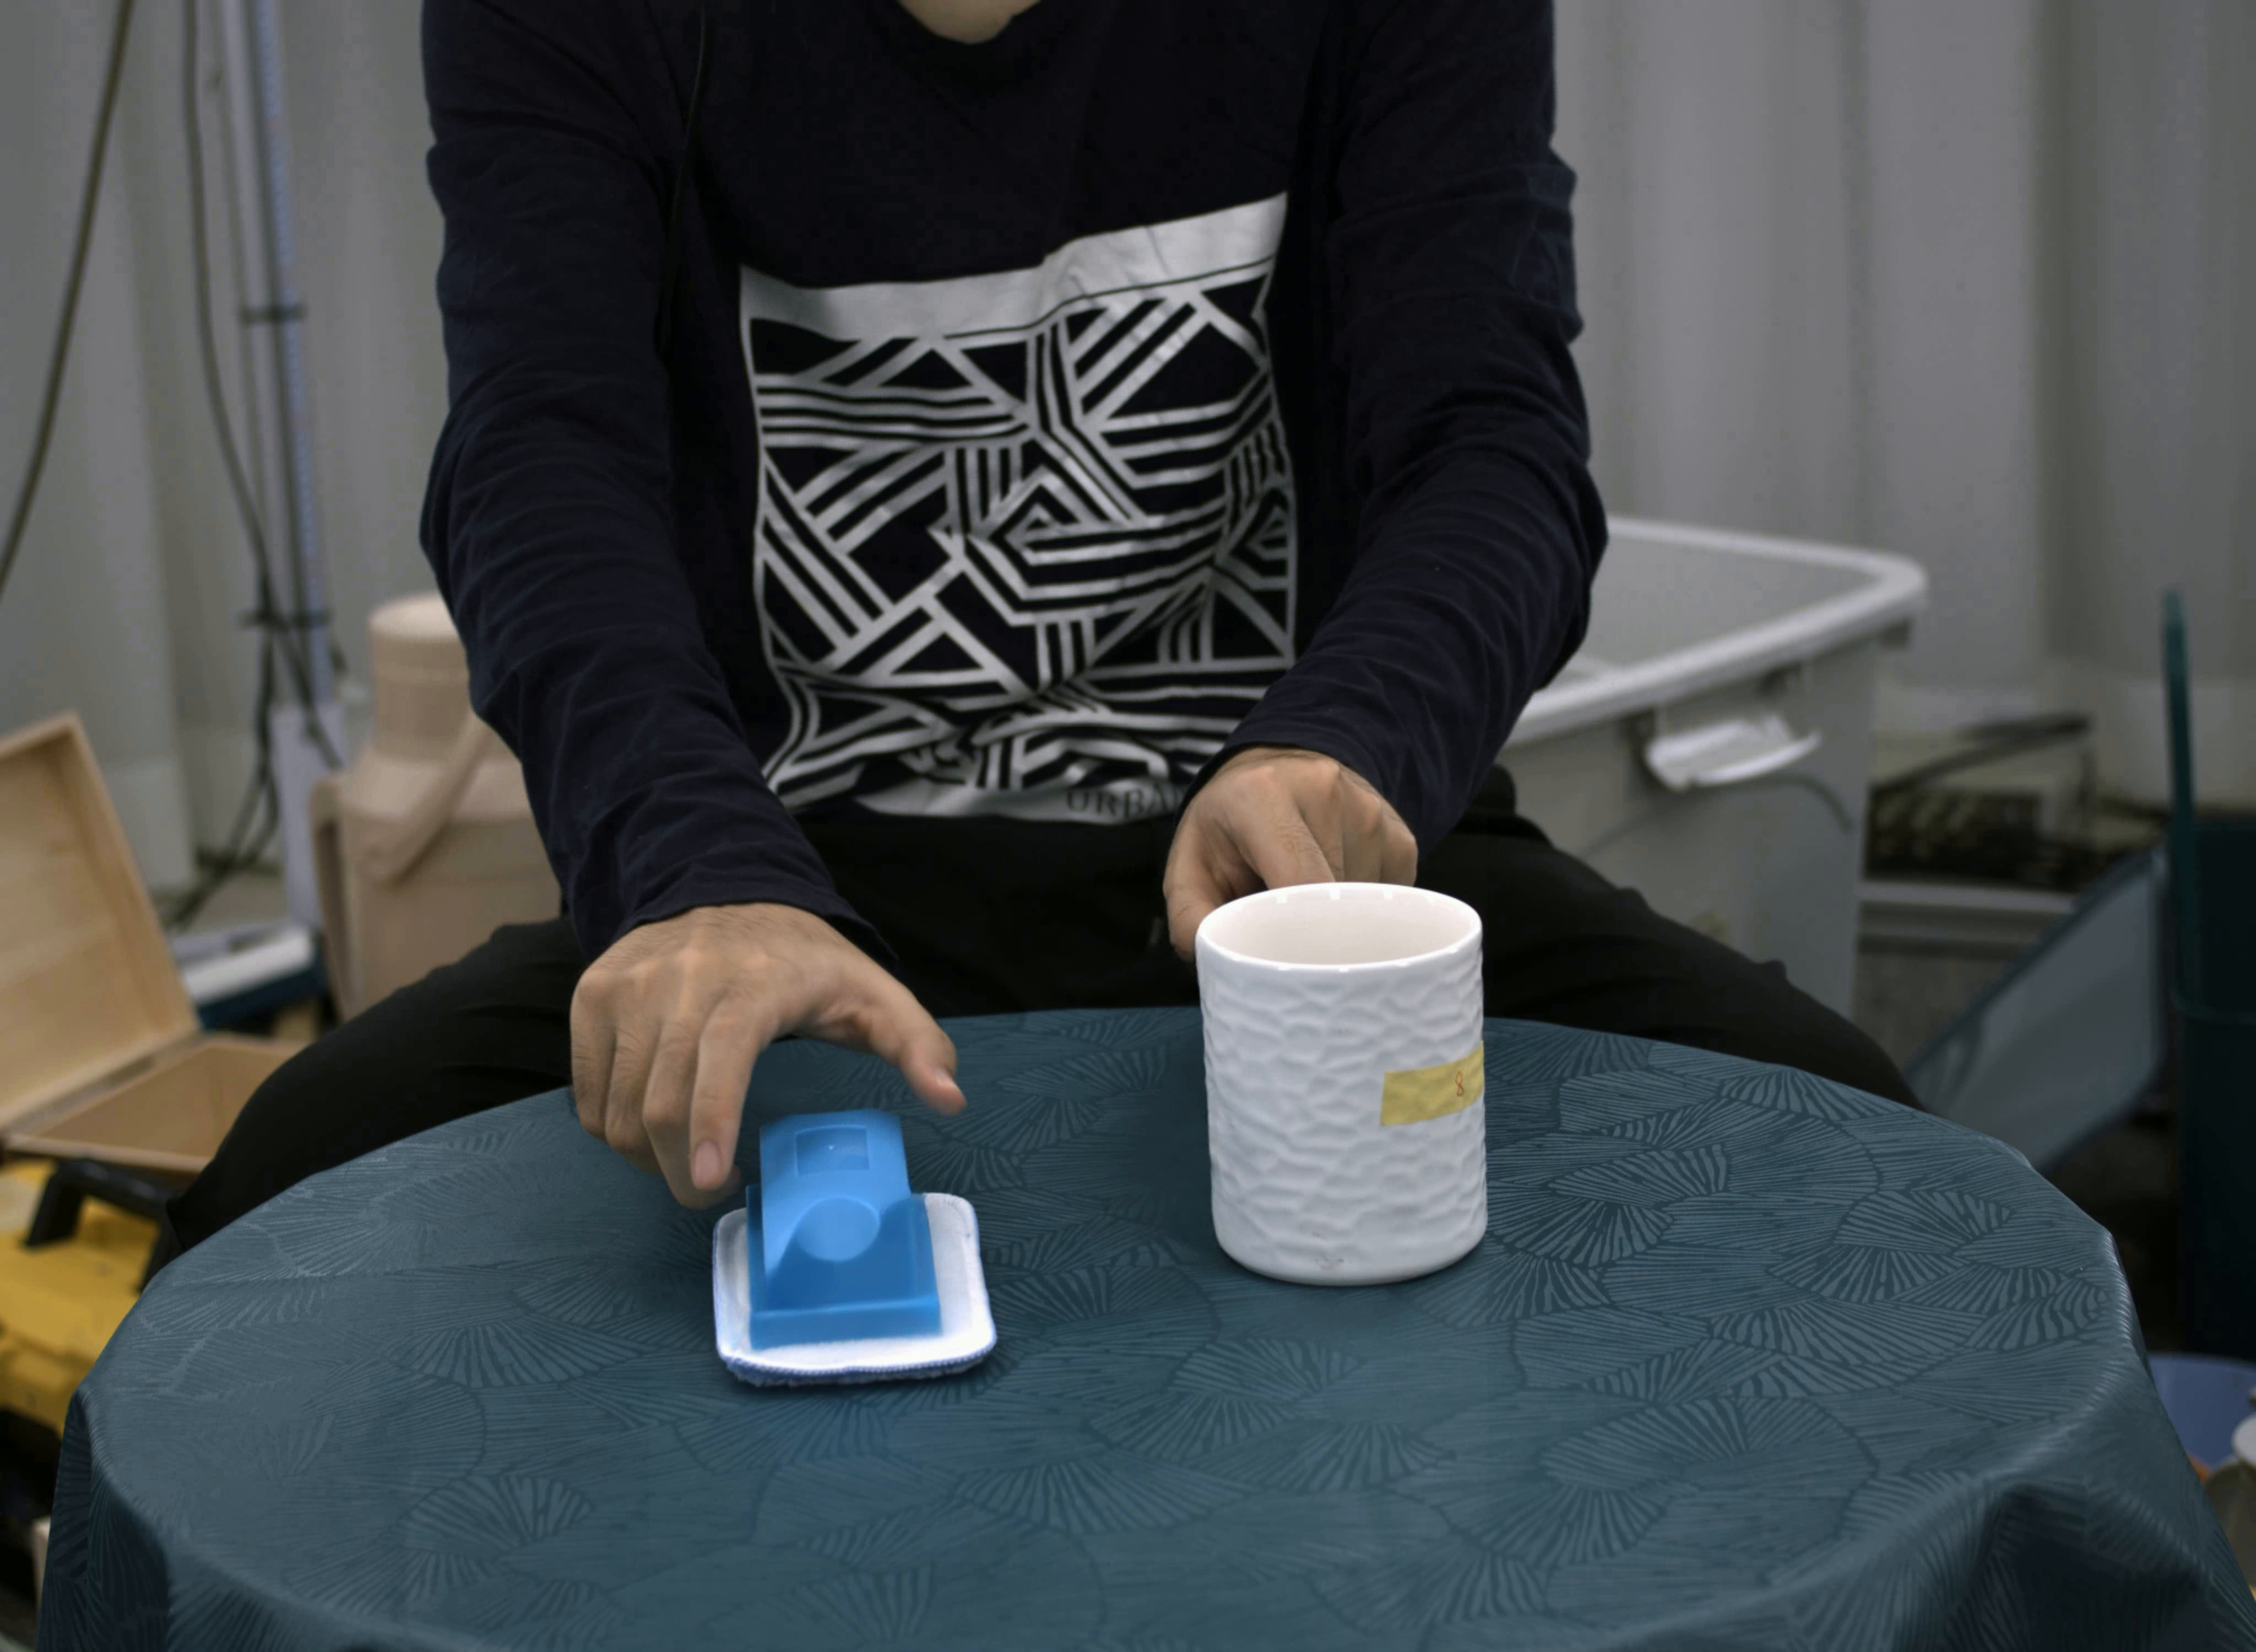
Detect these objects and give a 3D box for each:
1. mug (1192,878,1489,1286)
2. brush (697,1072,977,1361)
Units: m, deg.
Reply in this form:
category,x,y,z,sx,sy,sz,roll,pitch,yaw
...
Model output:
category,x,y,z,sx,sy,sz,roll,pitch,yaw
mug,0.058,0.073,1.657,0.084,0.101,0.119,-12,18,-24
brush,-0.086,0.113,1.622,0.083,0.055,0.145,0,17,-2
